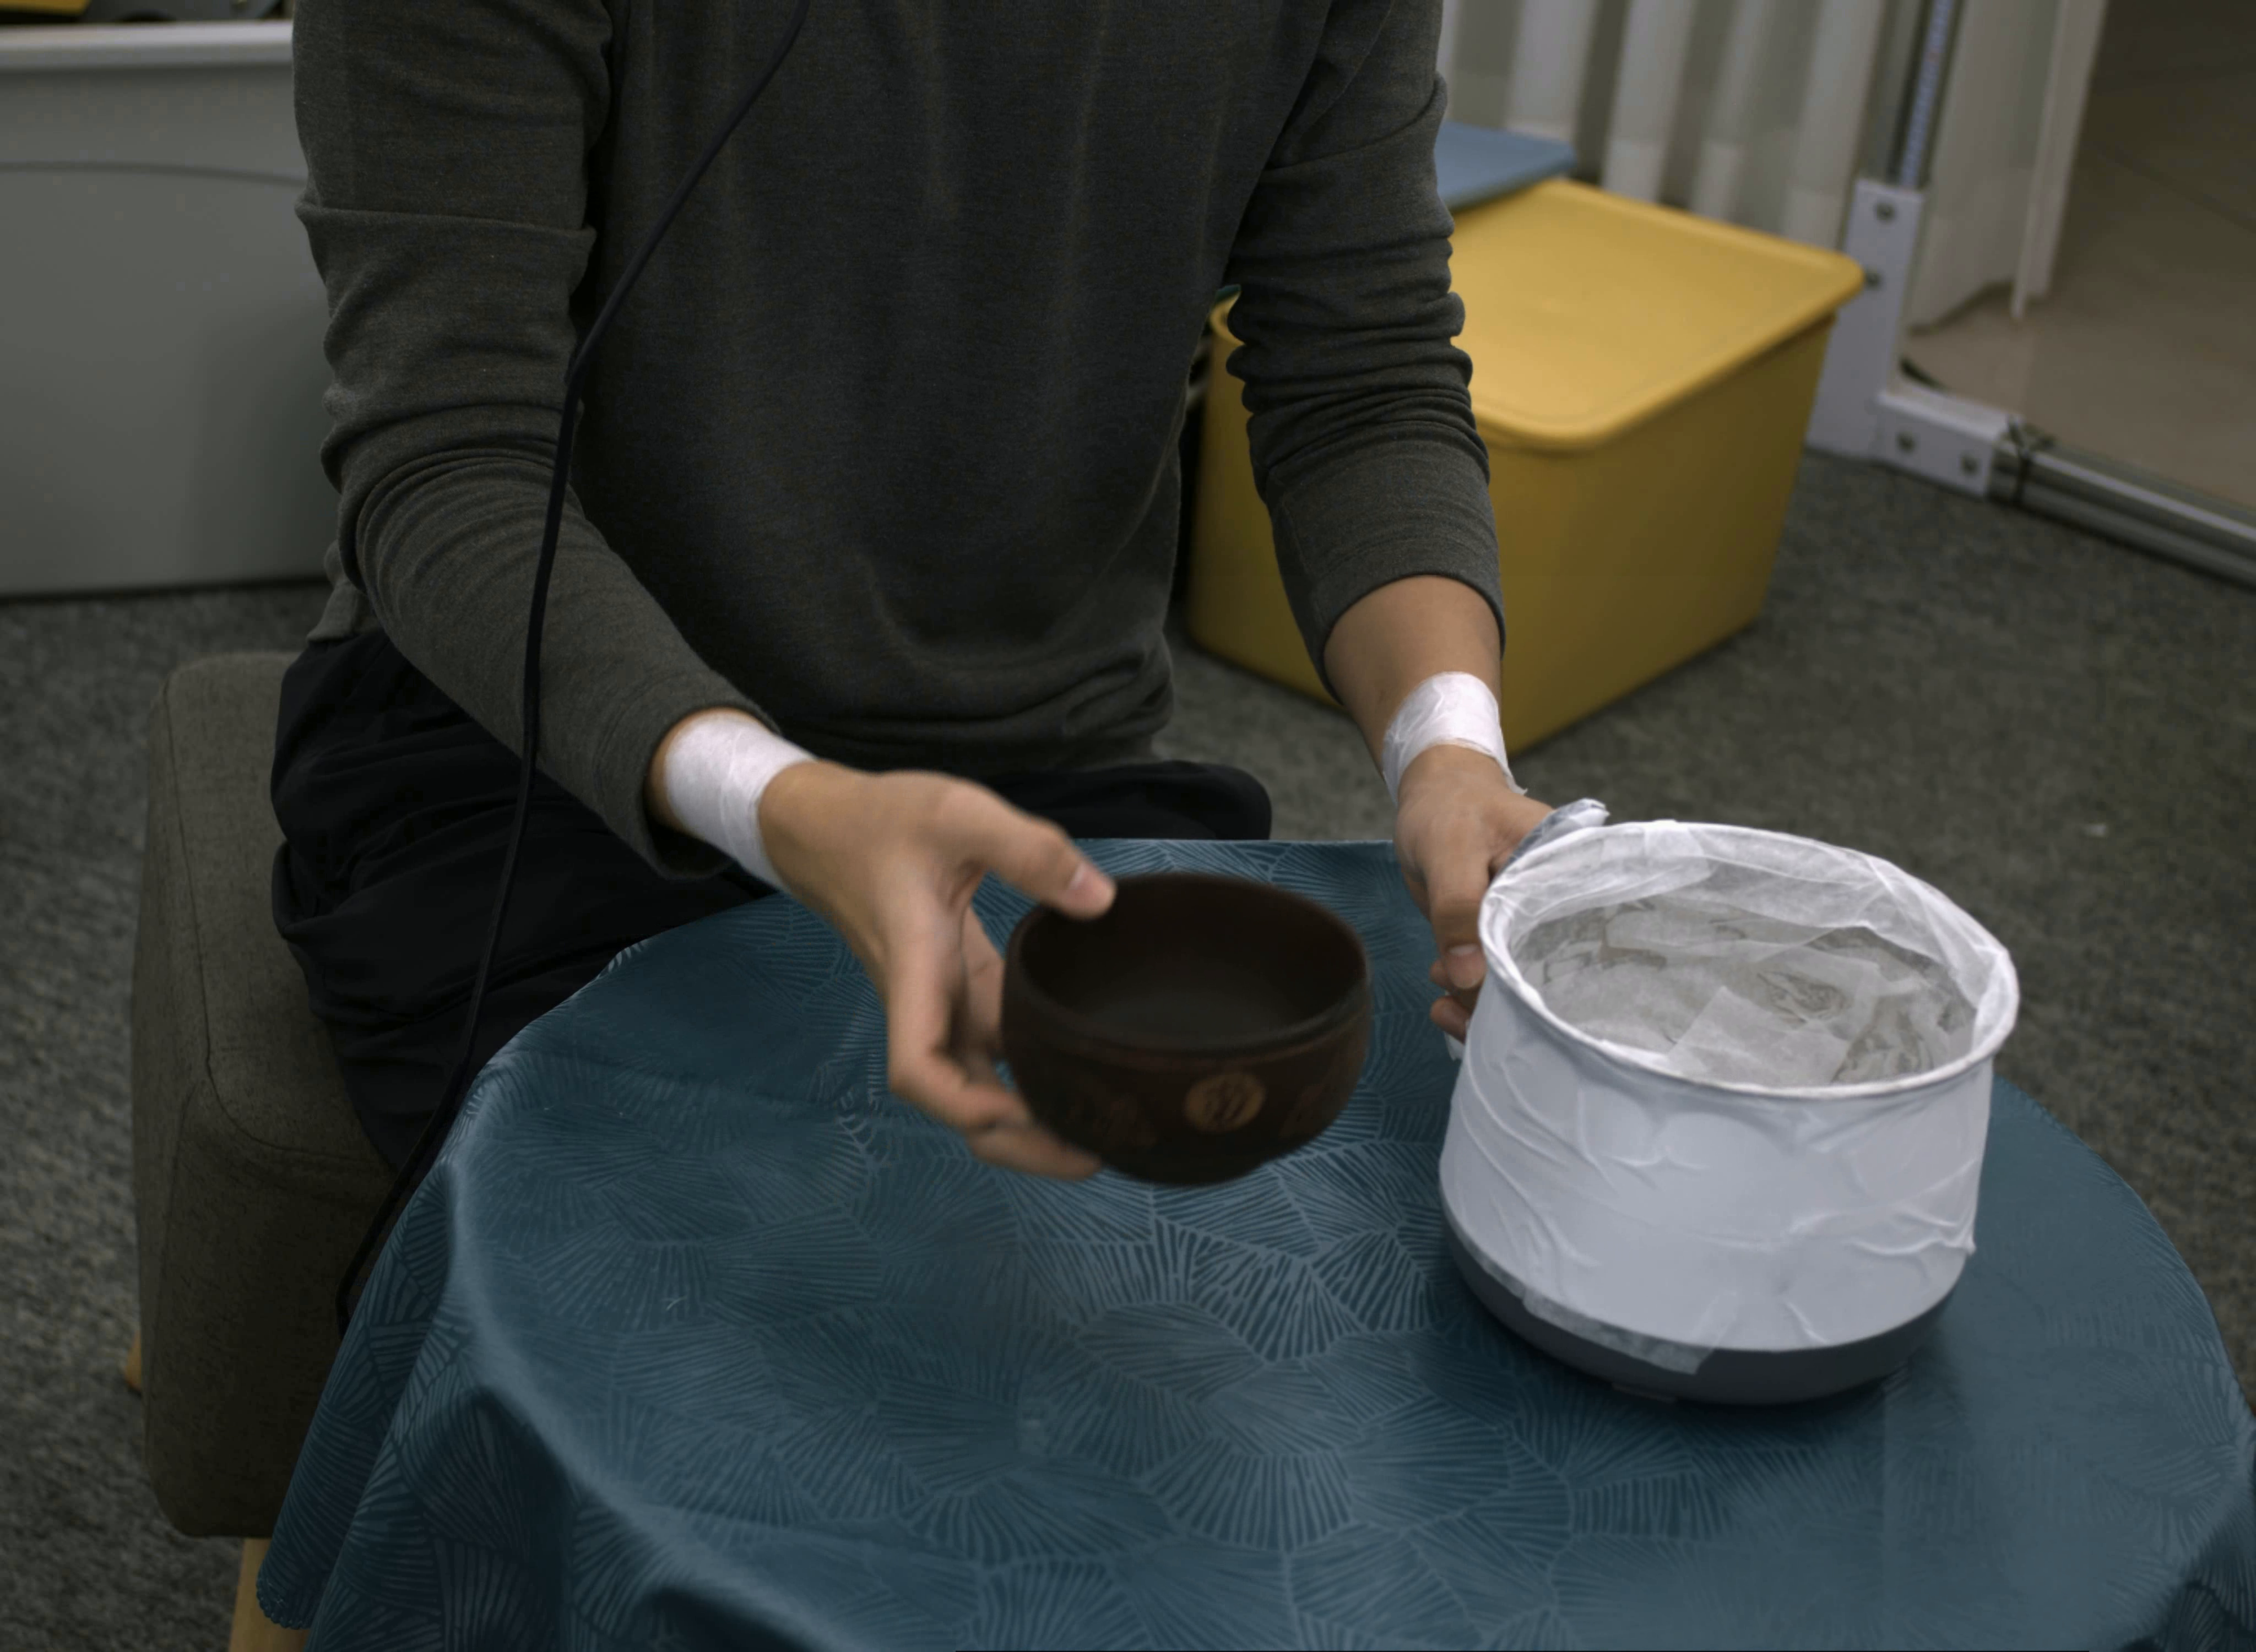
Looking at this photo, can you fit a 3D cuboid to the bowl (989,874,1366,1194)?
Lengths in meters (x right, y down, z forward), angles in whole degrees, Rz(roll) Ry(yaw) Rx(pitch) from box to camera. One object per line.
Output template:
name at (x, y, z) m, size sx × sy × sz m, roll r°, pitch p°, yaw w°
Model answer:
bowl at (0.015, 0.071, 1.662) m, size 0.118 × 0.069 × 0.119 m, roll -1°, pitch 26°, yaw 0°

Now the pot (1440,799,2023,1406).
pot at (0.181, 0.084, 1.771) m, size 0.177 × 0.136 × 0.236 m, roll -9°, pitch 31°, yaw -28°
